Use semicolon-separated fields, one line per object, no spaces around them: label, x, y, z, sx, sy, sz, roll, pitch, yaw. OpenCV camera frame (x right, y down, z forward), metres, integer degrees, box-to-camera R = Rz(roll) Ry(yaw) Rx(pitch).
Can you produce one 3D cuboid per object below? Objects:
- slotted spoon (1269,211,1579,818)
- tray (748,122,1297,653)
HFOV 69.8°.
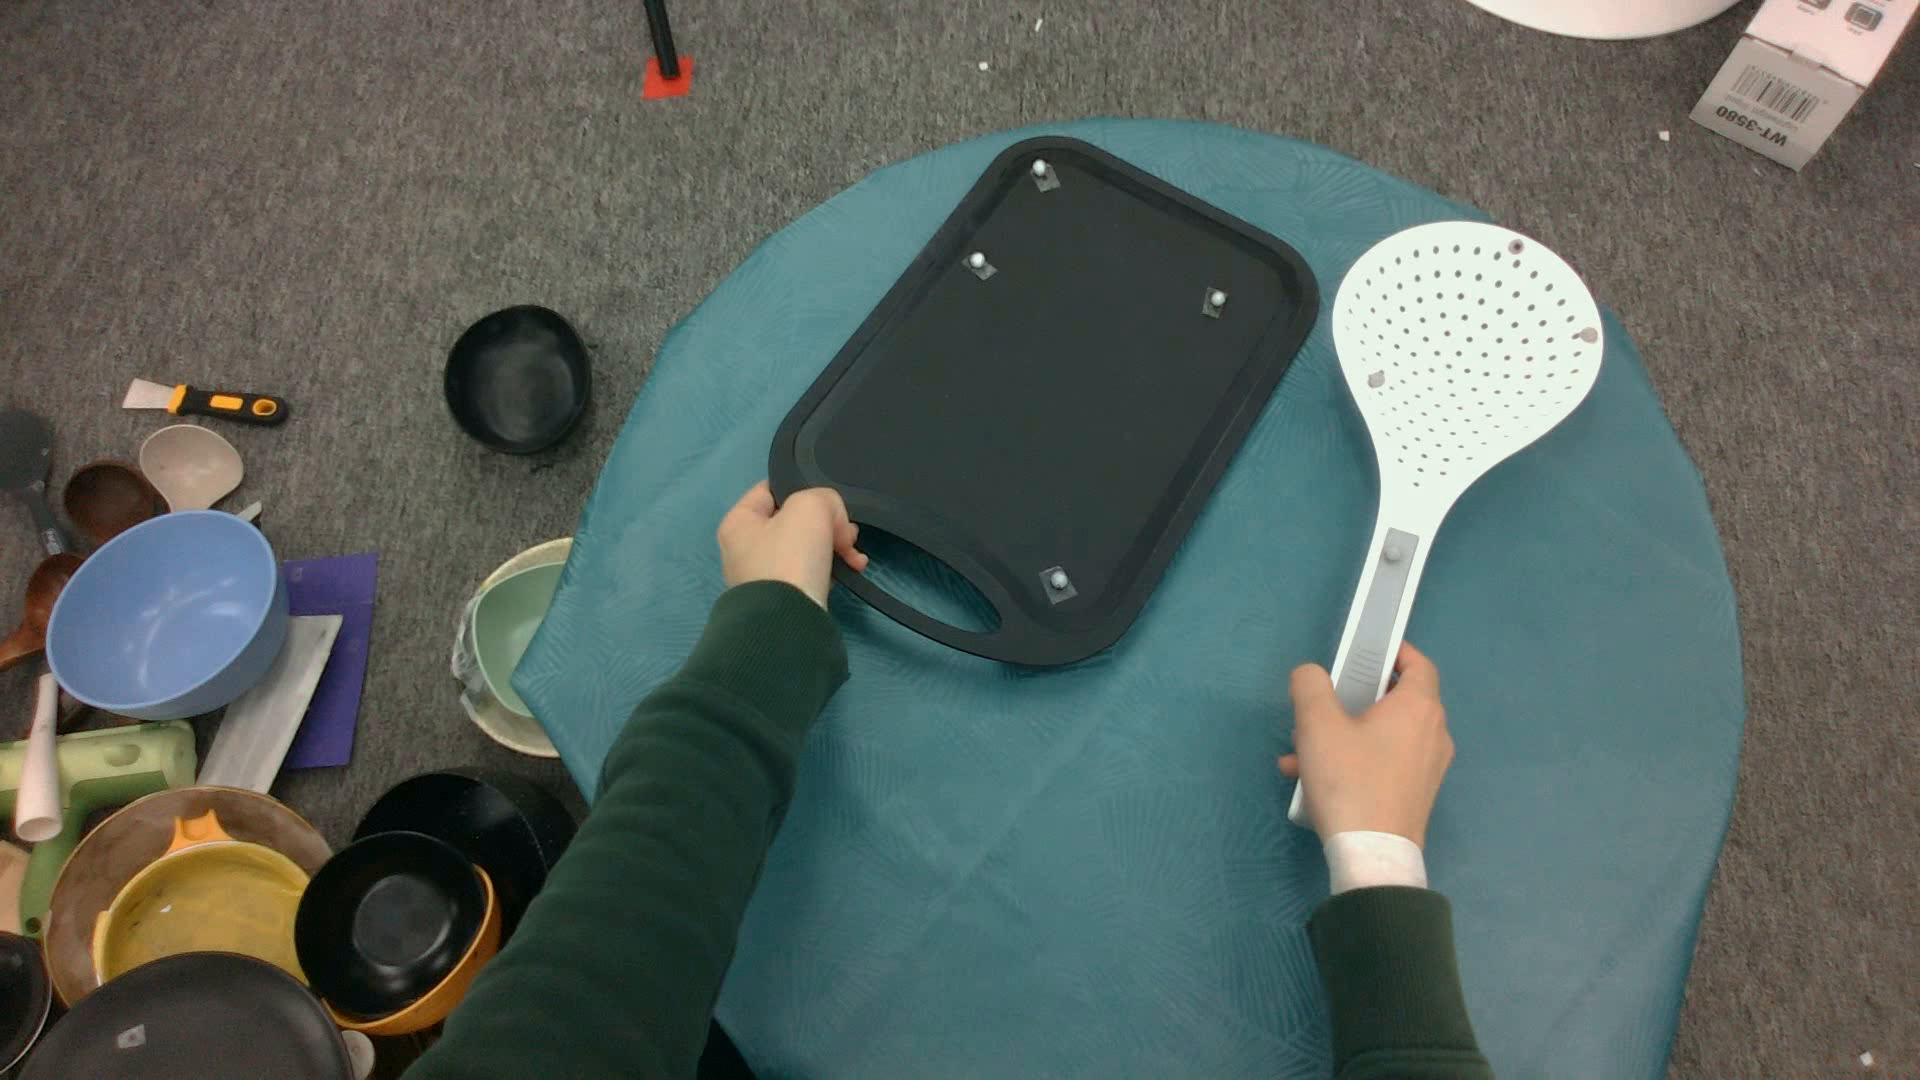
slotted spoon;0.220;-0.024;0.699;0.136;0.045;0.351;19;63;11
tray;0.038;-0.092;0.740;0.211;0.010;0.327;30;65;9
